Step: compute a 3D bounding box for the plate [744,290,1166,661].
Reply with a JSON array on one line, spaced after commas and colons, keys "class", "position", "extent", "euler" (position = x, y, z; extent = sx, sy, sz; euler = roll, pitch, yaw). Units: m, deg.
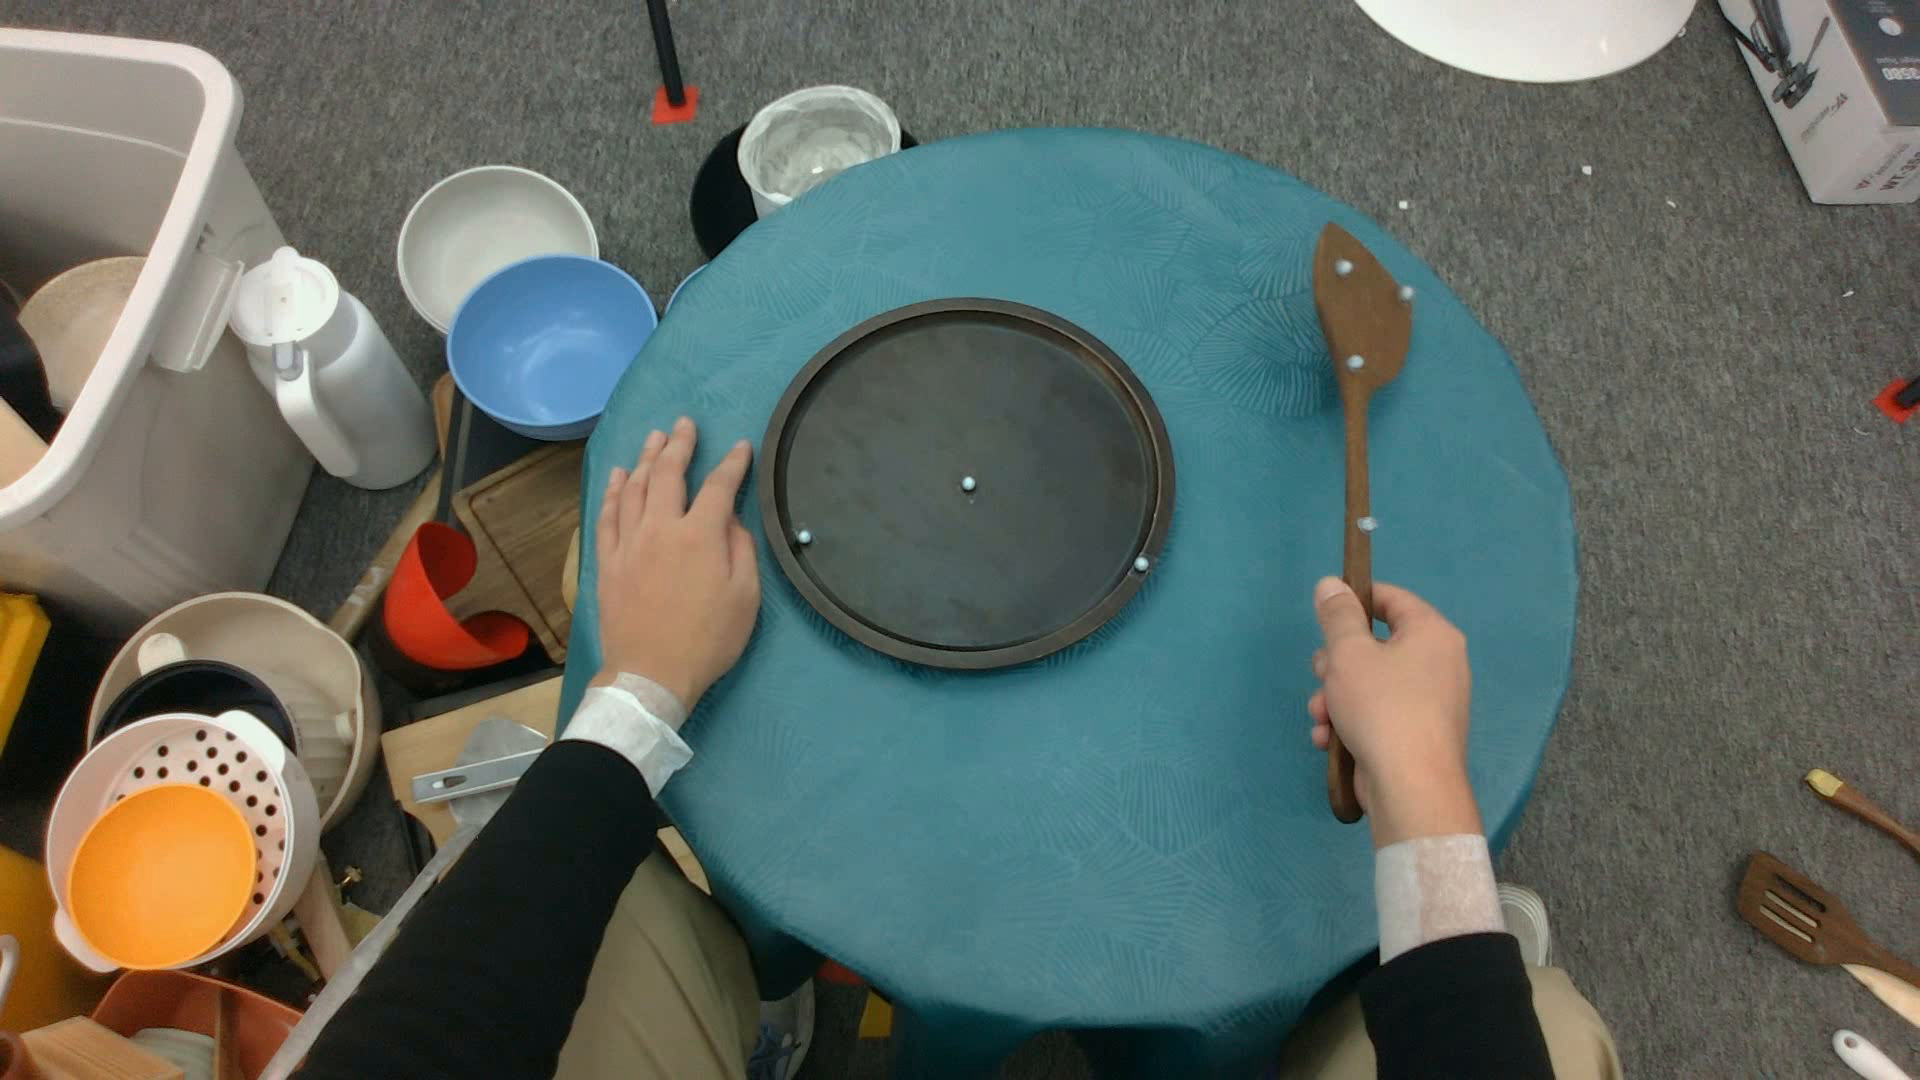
[{"class": "plate", "position": [-0.003, -0.044, 0.833], "extent": [0.255, 0.029, 0.255], "euler": [1, 64, -2]}]

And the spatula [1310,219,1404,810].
[{"class": "spatula", "position": [0.220, -0.028, 0.776], "extent": [0.096, 0.016, 0.388], "euler": [36, 50, -31]}]
